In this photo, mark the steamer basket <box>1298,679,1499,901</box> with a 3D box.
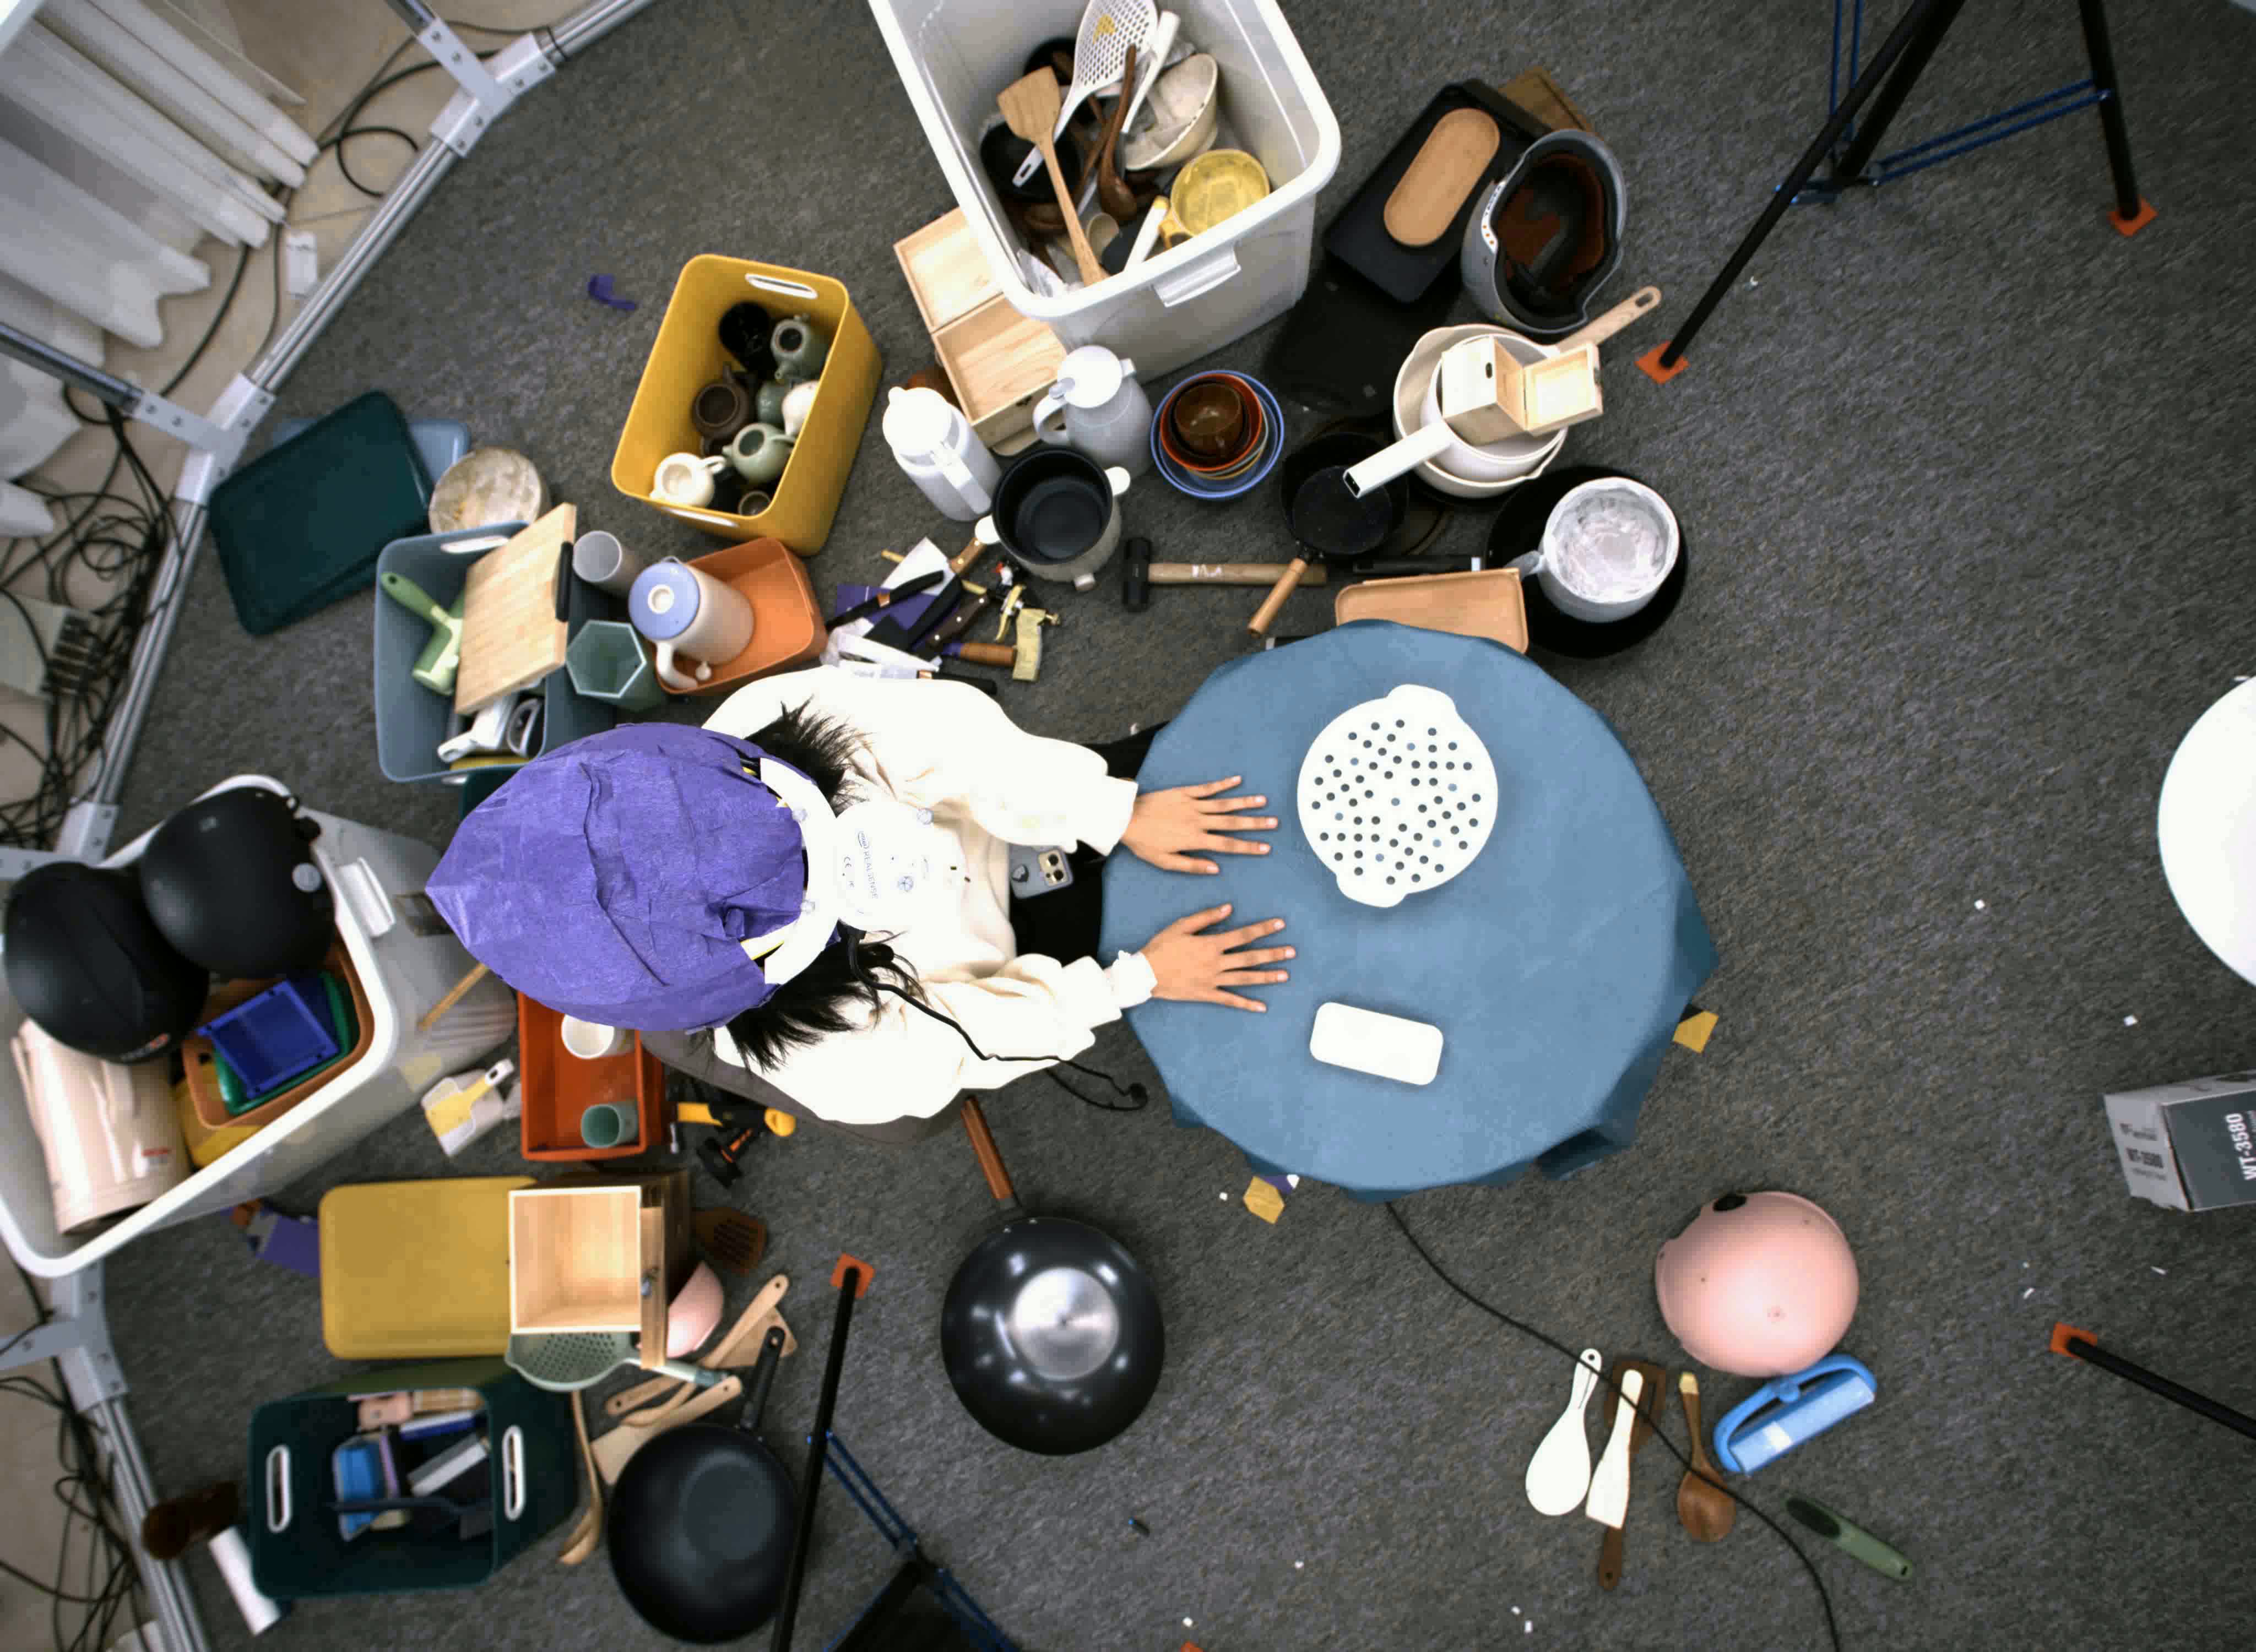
[{"bbox_3d":[0.279,-0.036,1.430,0.202,0.069,0.230,16,89,11],"label":"steamer basket"}]

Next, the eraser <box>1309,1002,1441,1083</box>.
[{"bbox_3d":[0.257,0.222,1.439,0.131,0.034,0.063,14,89,10],"label":"eraser"}]
